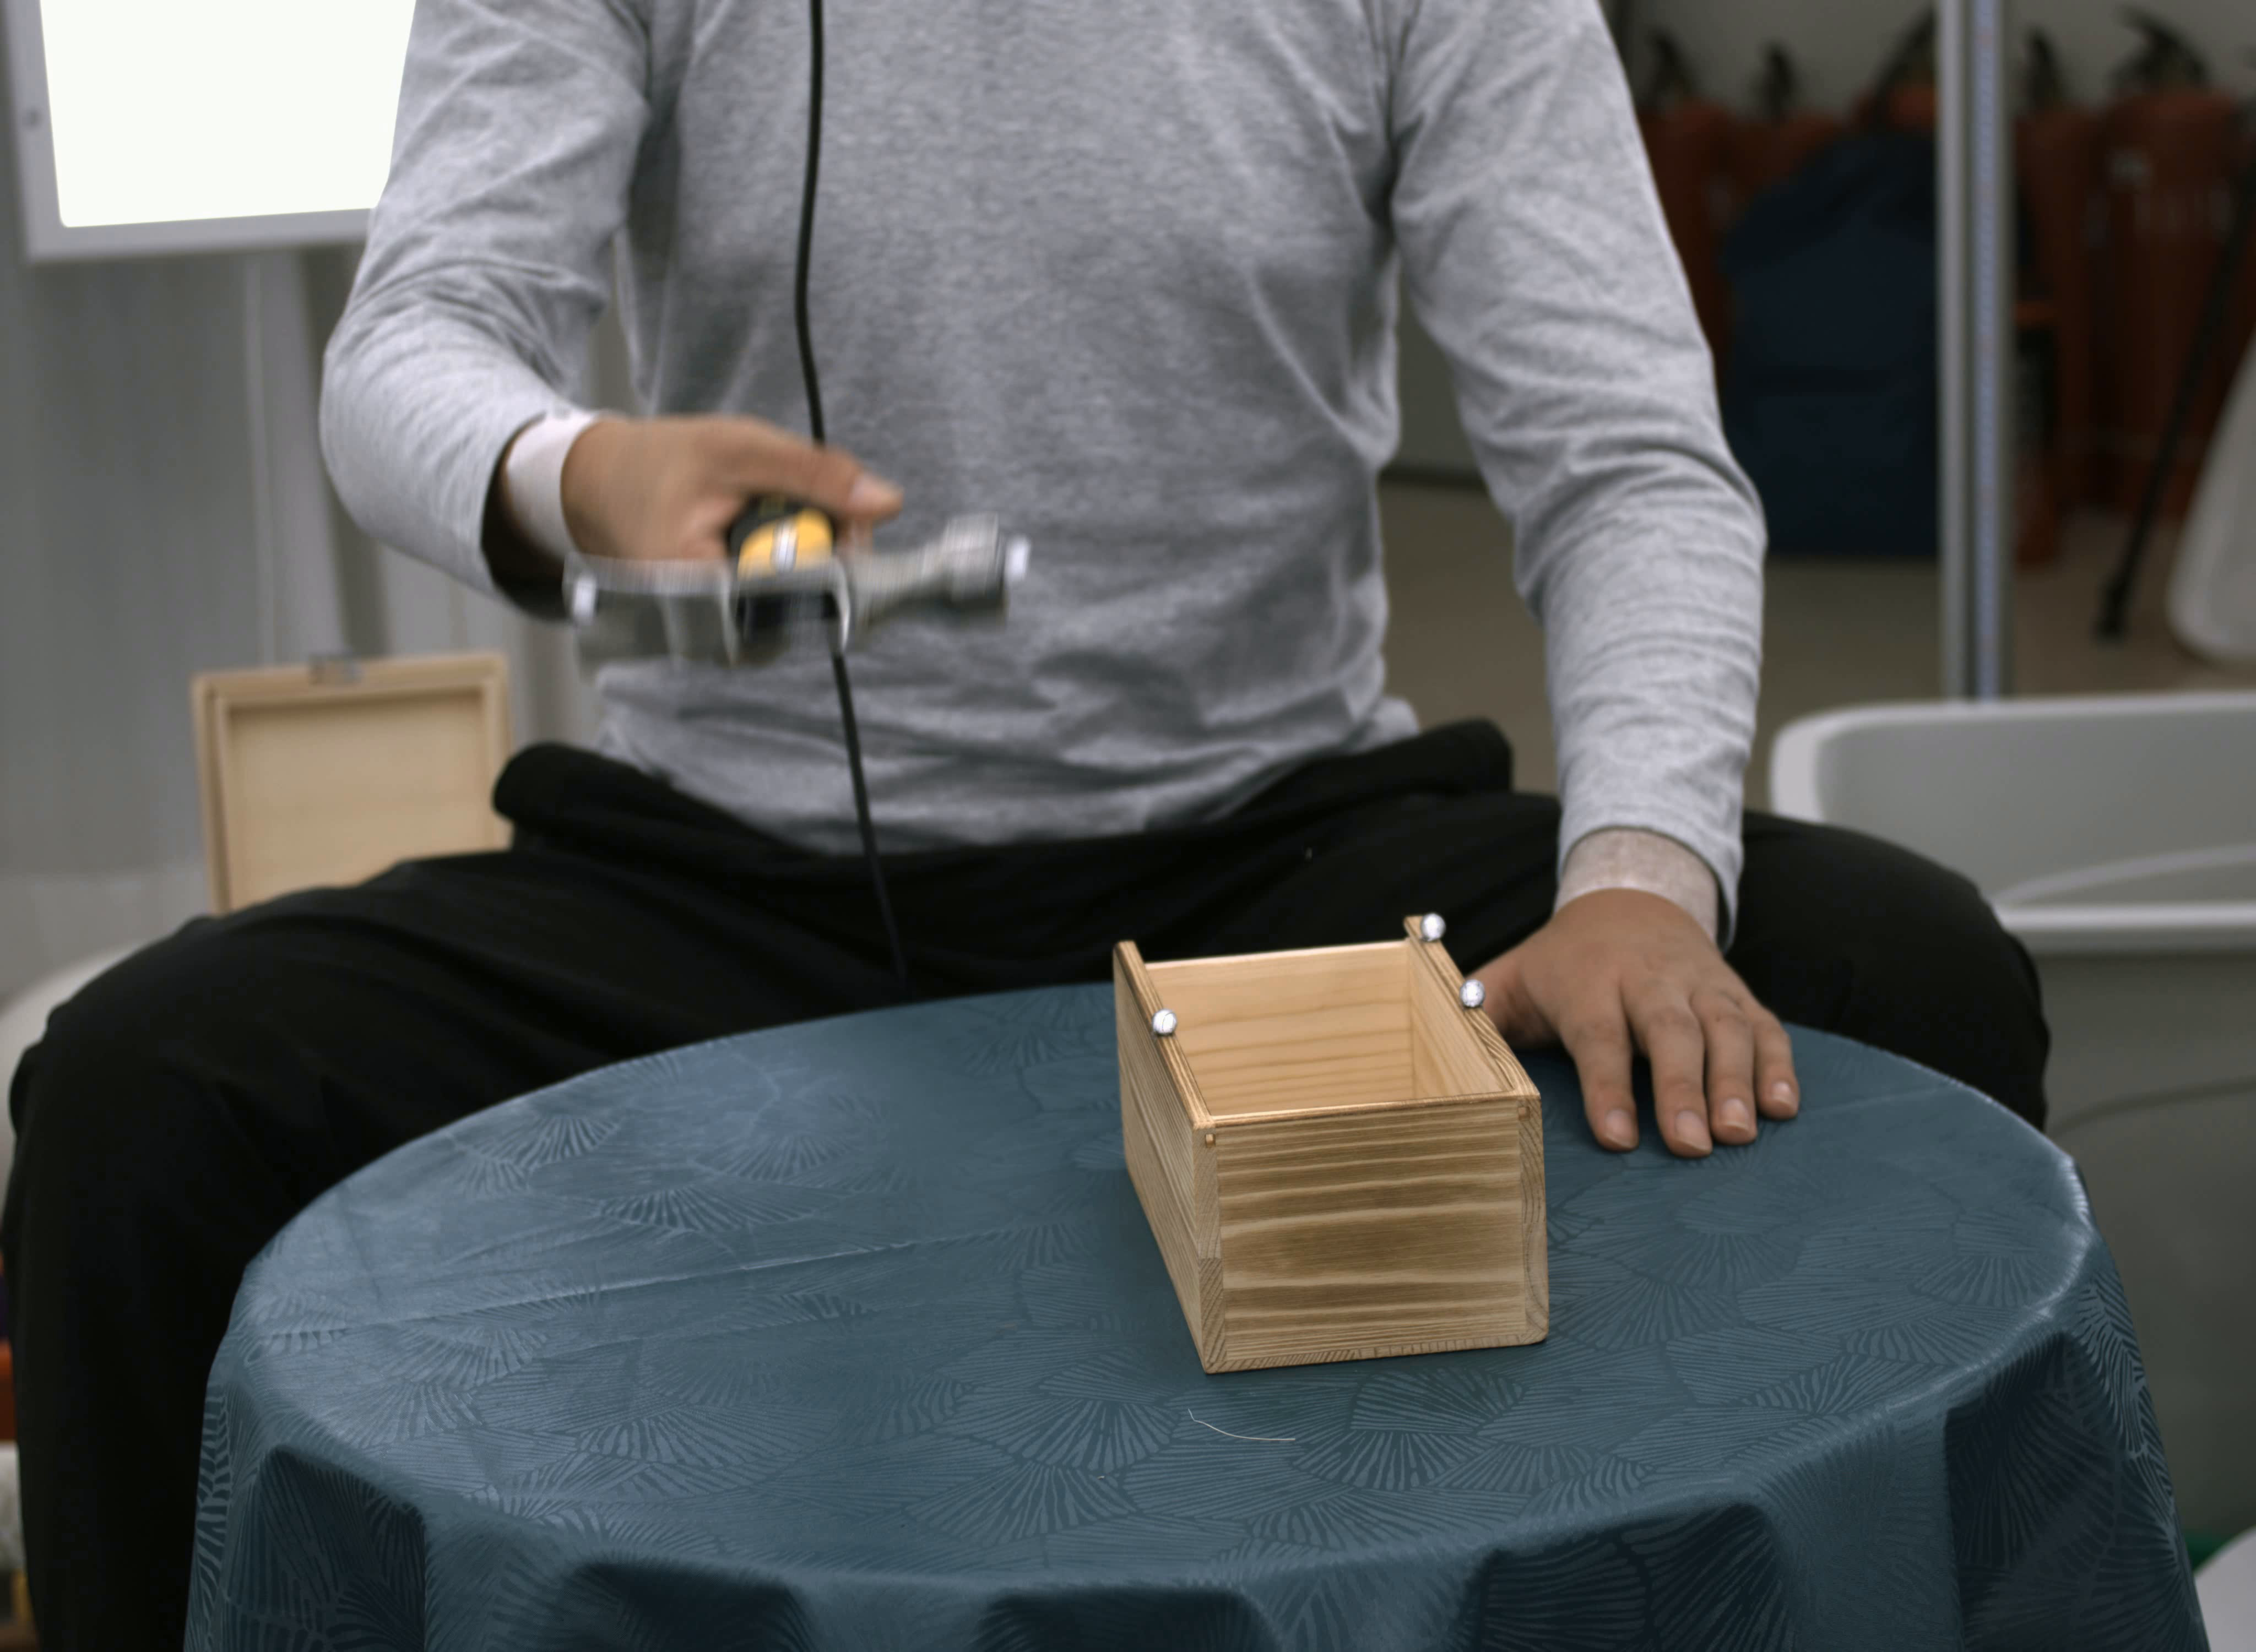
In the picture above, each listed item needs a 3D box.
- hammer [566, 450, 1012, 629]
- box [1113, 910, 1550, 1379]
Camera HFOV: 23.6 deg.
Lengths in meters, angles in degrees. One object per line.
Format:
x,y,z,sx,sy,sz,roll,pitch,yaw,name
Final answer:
-0.111,-0.100,1.738,0.129,0.032,0.339,-11,7,-2,hammer
0.061,0.096,1.691,0.106,0.081,0.212,-6,14,-5,box
